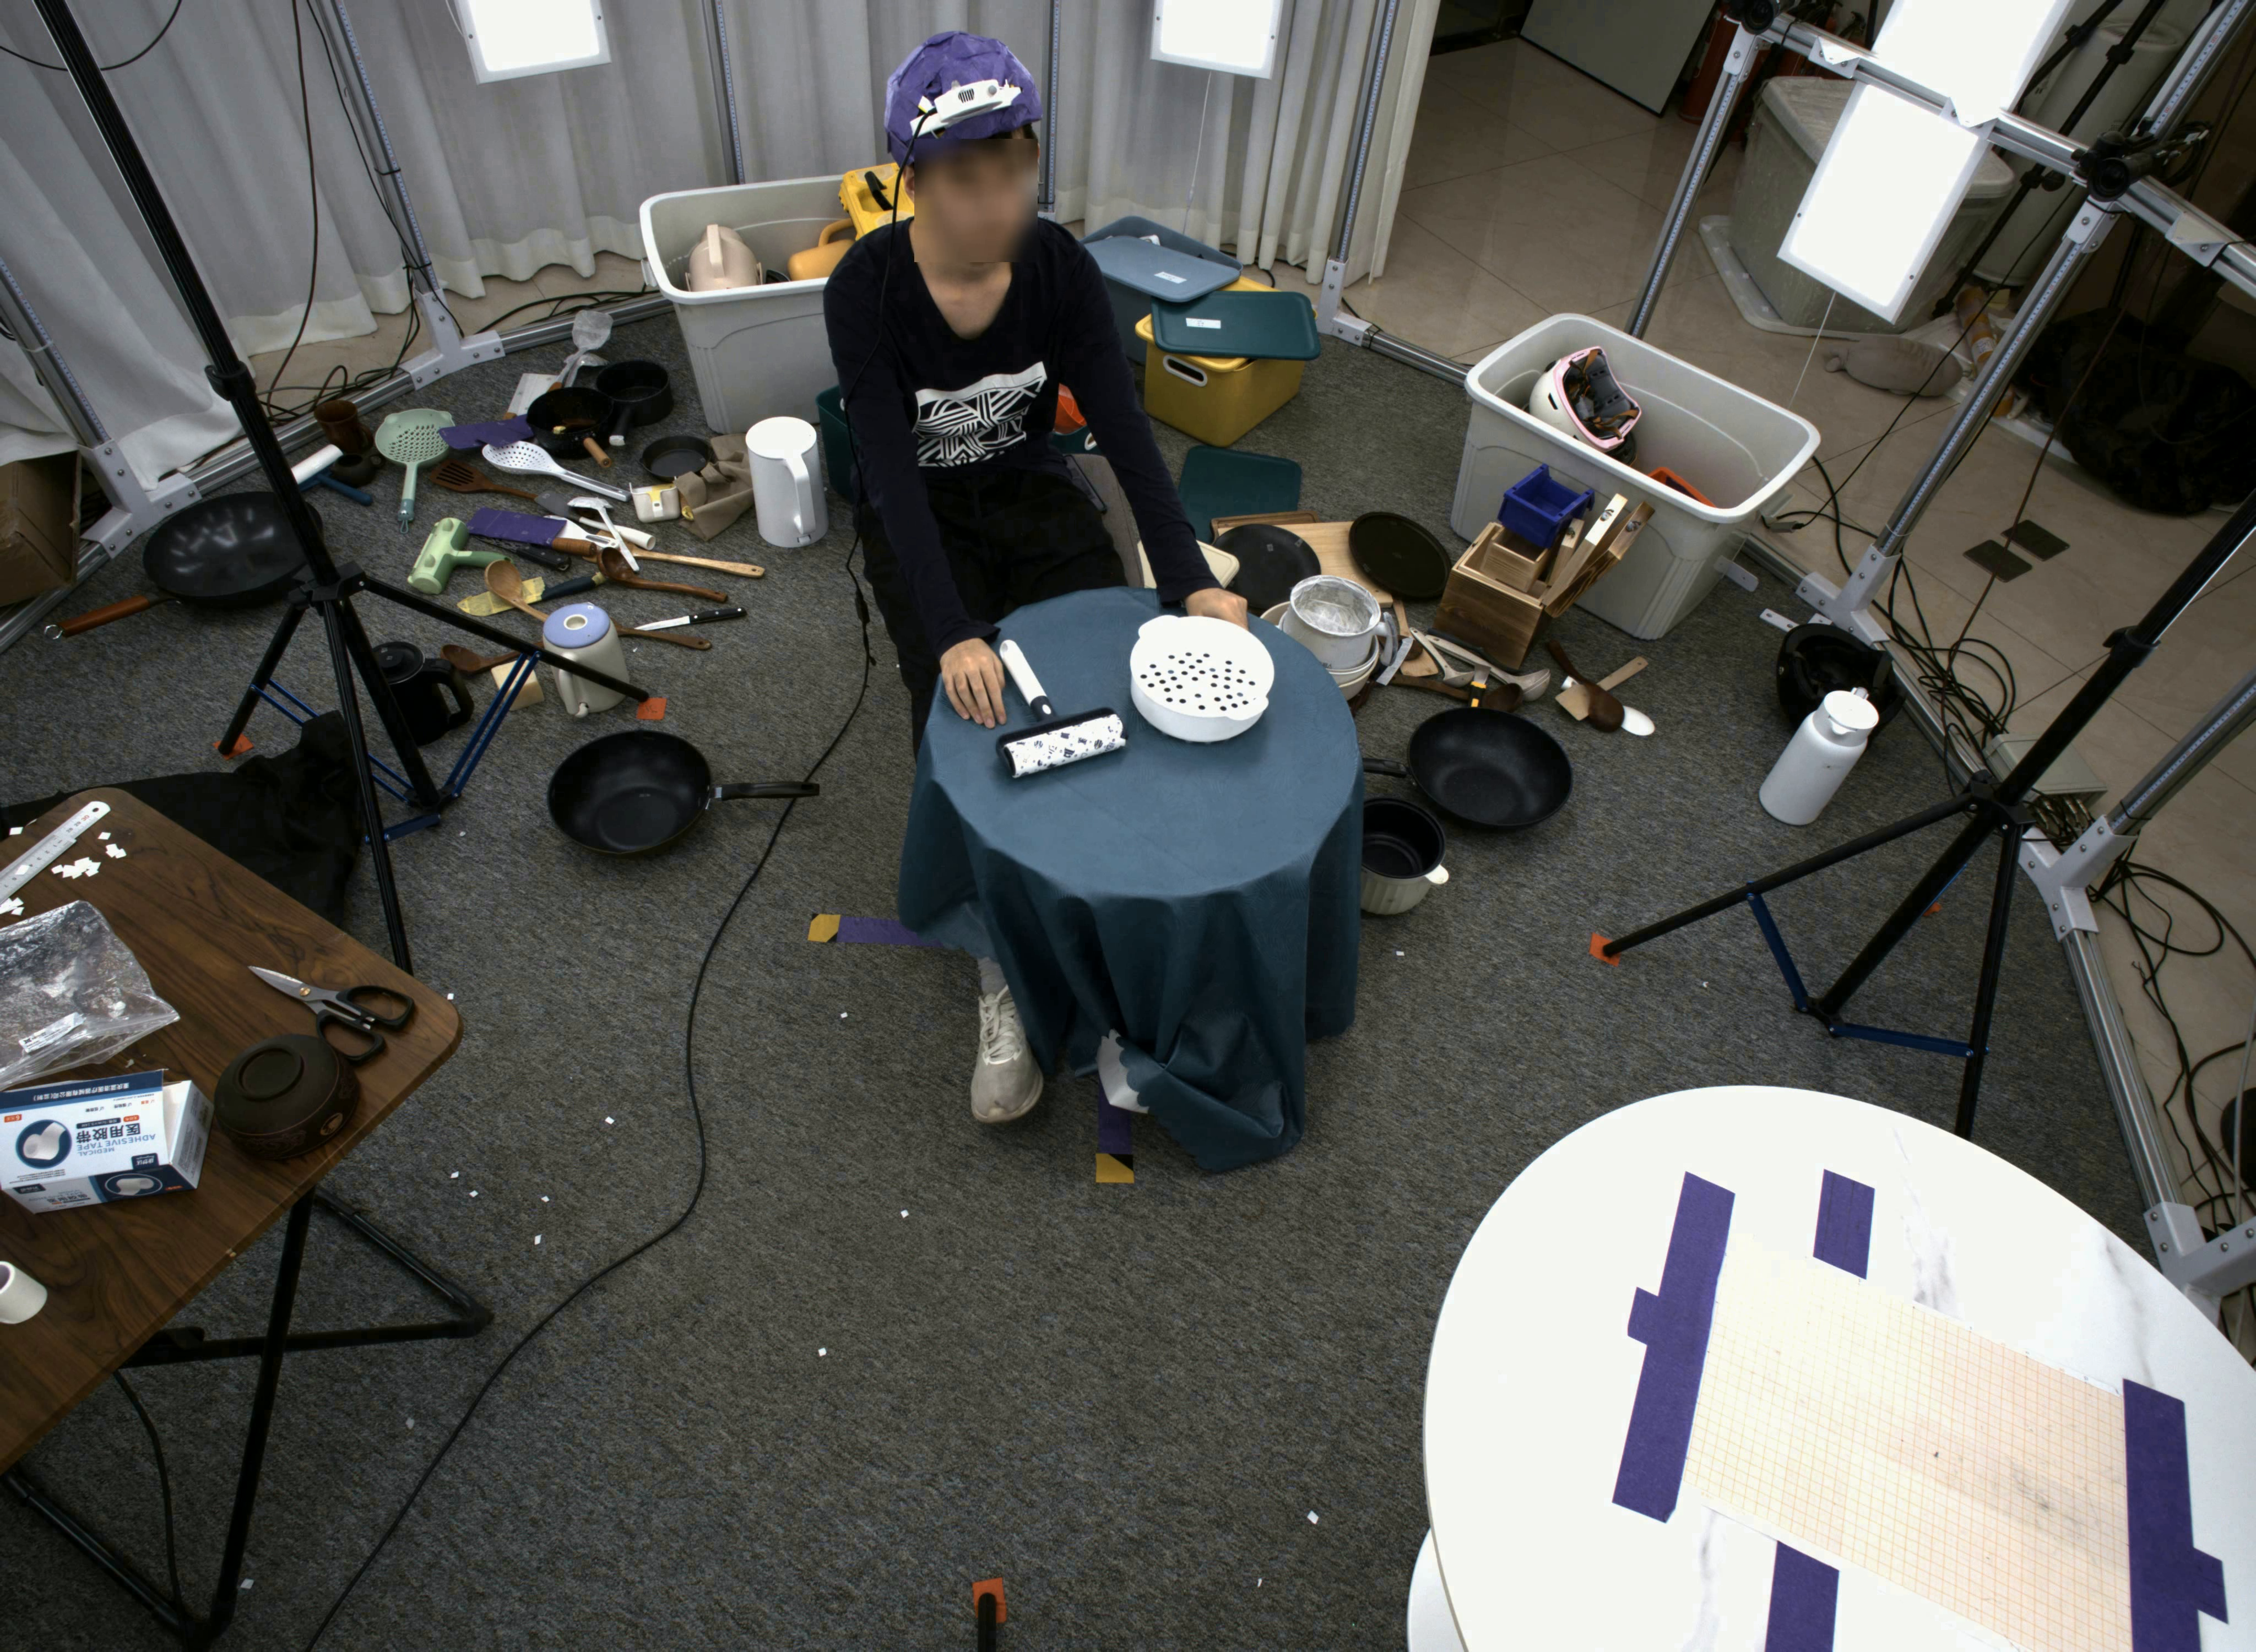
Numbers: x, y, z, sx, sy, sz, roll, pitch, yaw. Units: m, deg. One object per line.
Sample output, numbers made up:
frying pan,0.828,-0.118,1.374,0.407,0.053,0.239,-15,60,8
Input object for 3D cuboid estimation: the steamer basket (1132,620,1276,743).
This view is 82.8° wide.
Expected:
steamer basket,0.105,-0.202,1.808,0.203,0.067,0.235,-28,54,-26

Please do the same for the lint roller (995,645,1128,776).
lint roller,-0.129,-0.179,1.788,0.176,0.049,0.253,-18,50,-18
